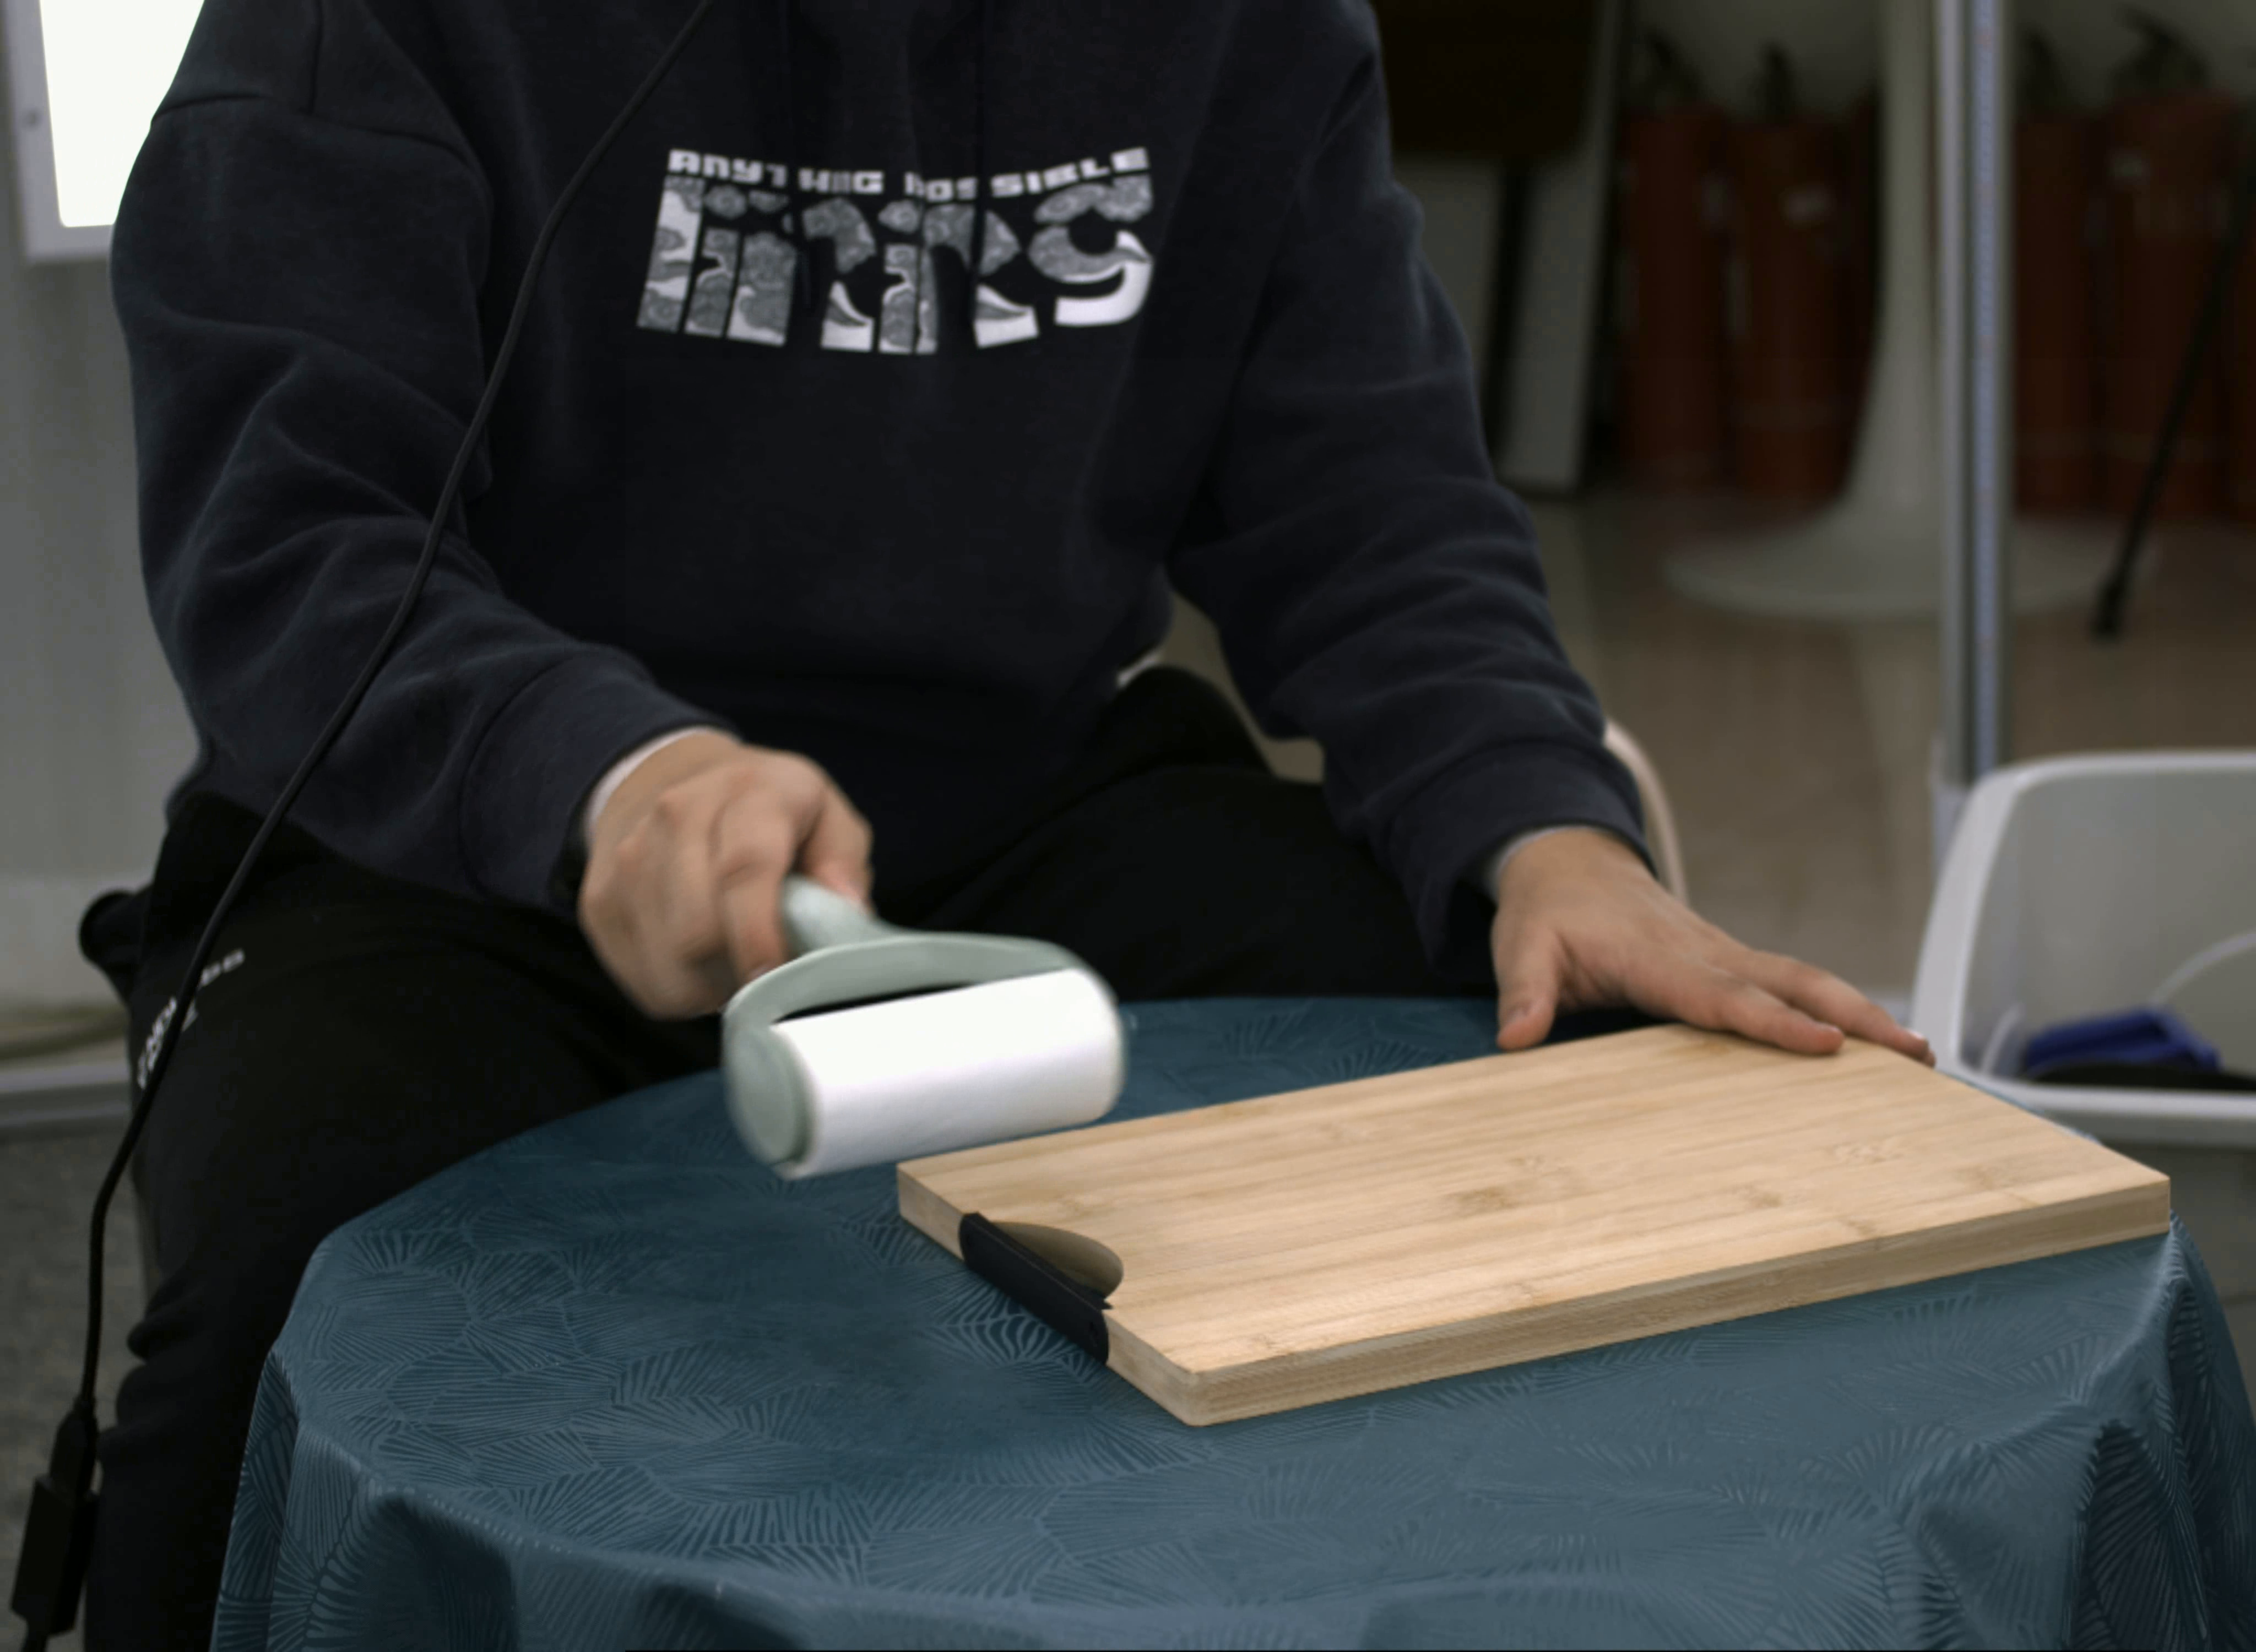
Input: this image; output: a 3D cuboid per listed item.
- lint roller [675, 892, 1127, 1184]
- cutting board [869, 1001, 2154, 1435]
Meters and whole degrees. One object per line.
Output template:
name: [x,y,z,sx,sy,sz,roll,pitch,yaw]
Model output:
lint roller: [-0.090,0.049,1.661,0.114,0.049,0.200,-12,24,-25]
cutting board: [0.120,0.119,1.715,0.341,0.024,0.253,-10,14,-22]
